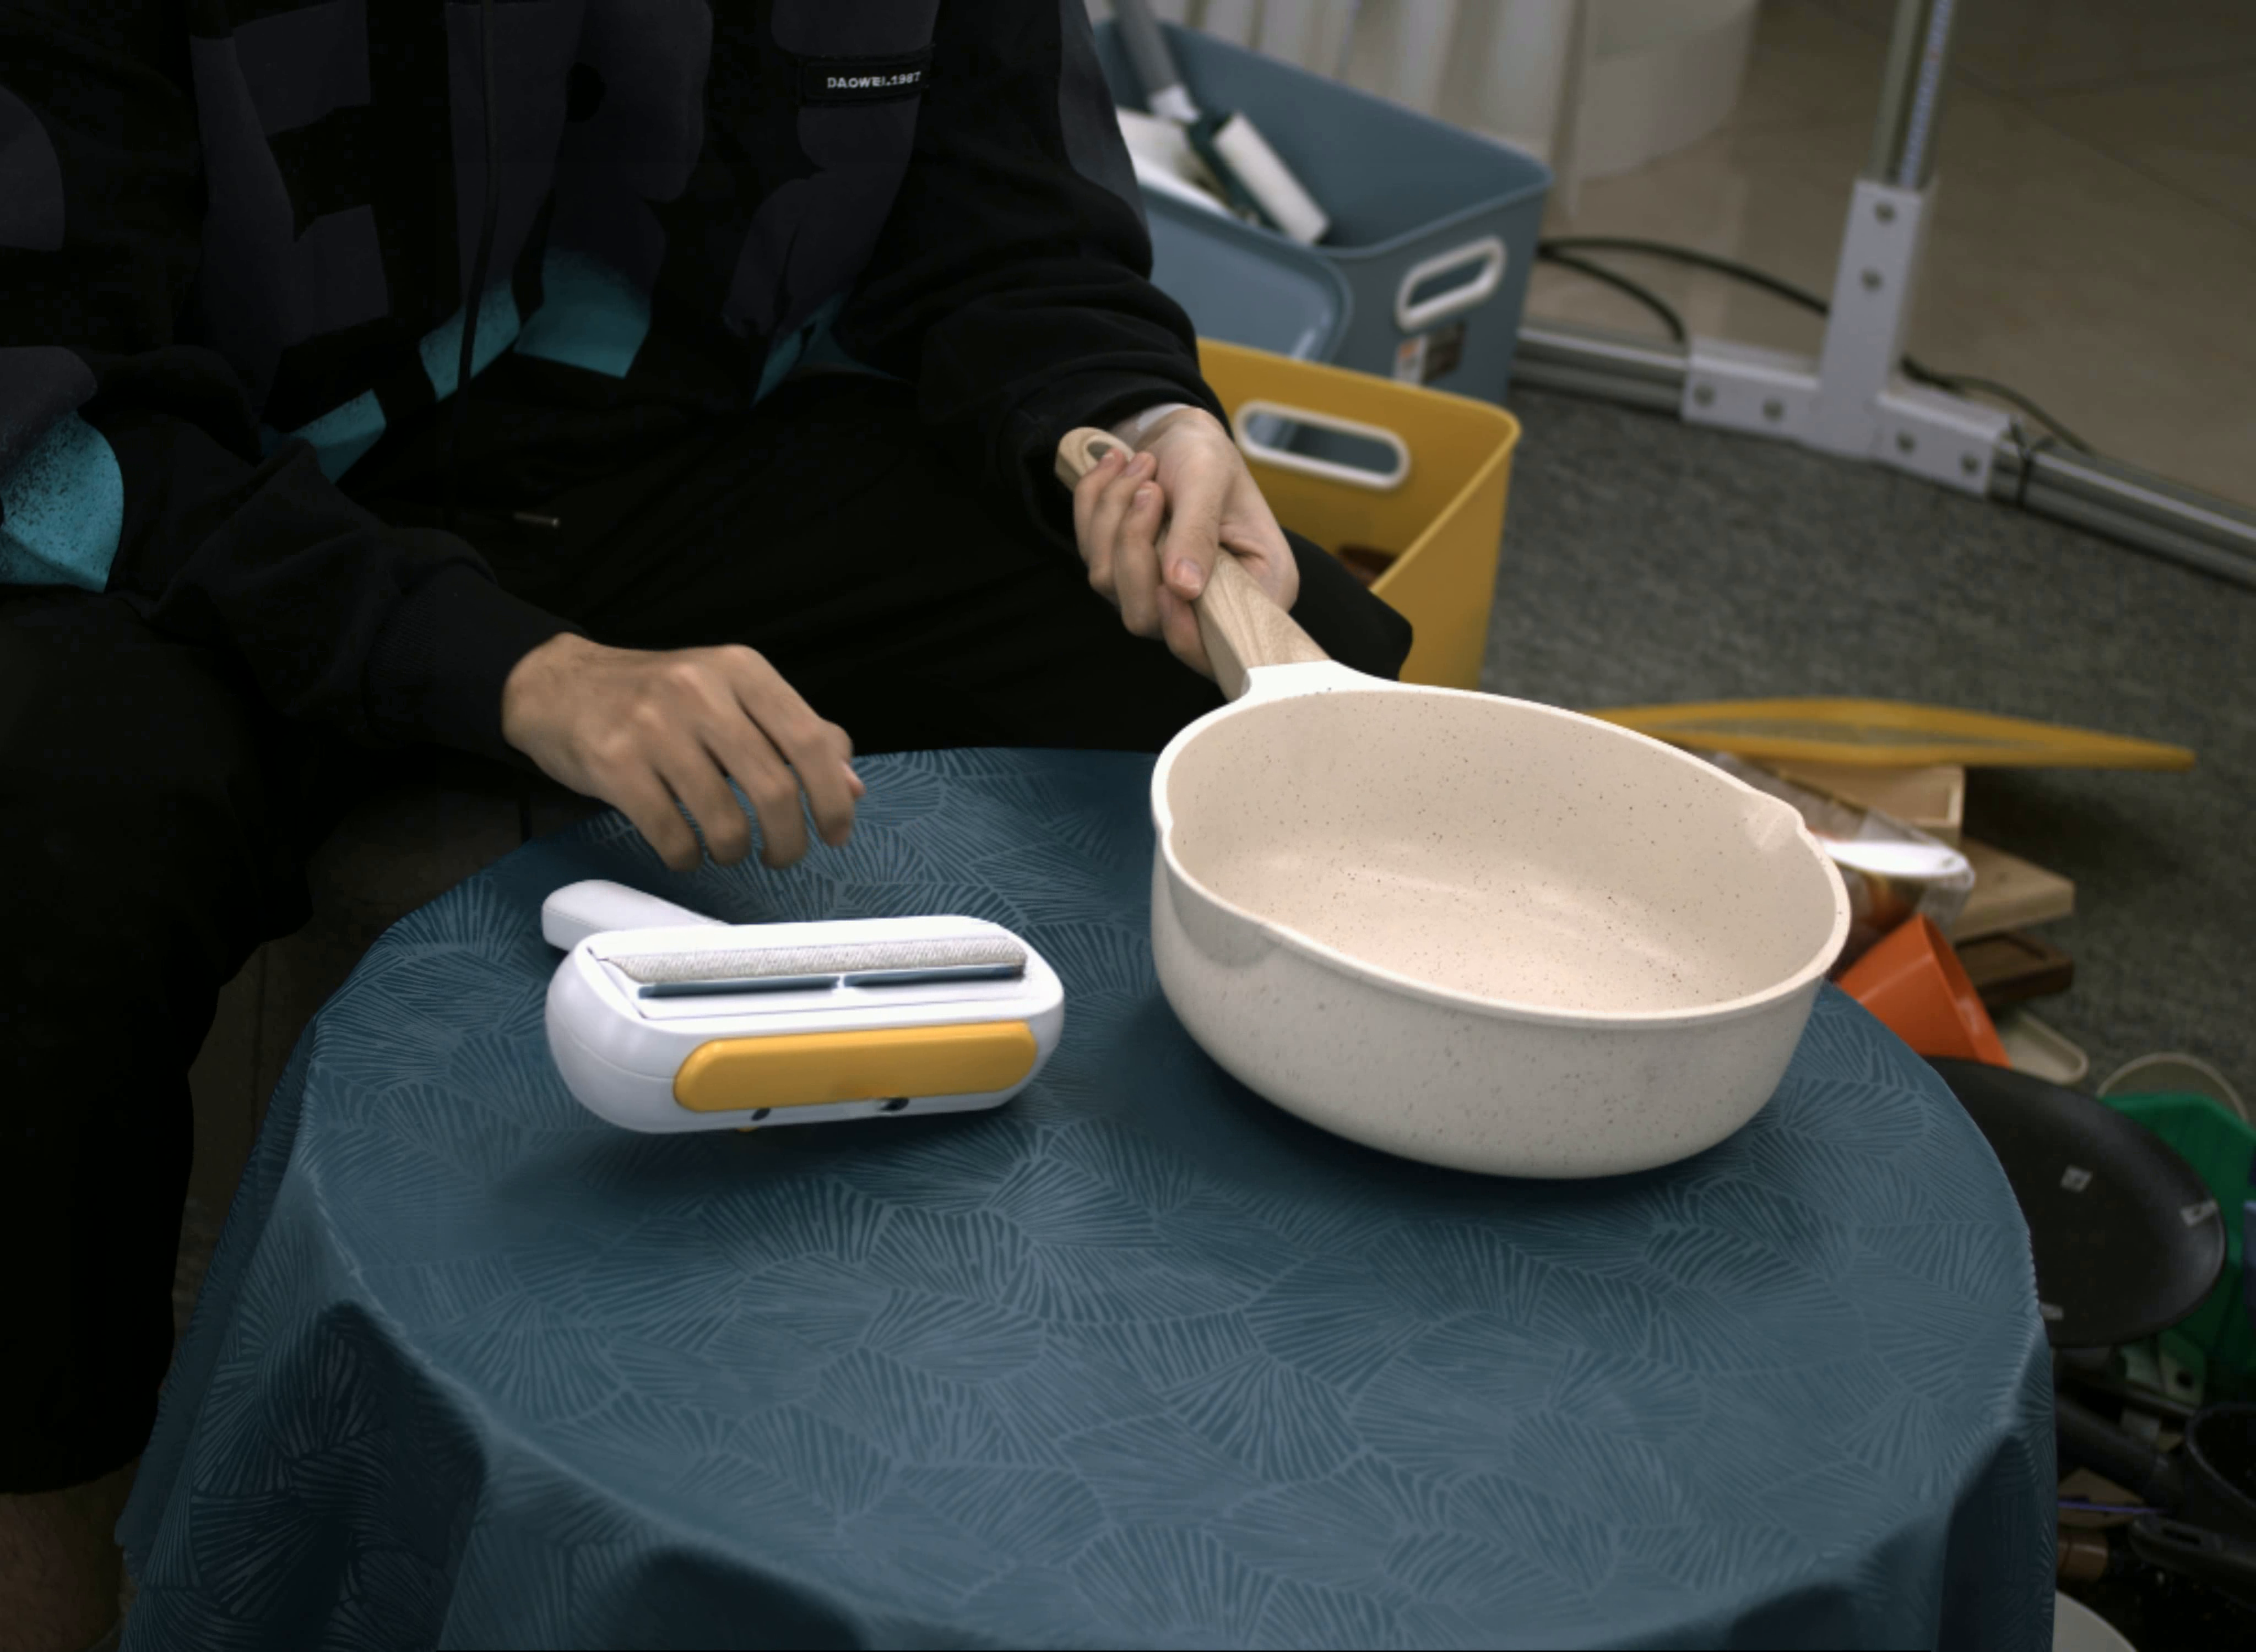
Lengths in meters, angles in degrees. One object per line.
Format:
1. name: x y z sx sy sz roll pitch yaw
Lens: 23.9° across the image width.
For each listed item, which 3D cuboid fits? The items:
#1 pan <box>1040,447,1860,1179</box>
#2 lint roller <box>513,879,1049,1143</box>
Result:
1. pan: 0.082 -0.007 1.954 0.261 0.101 0.439 -9 31 -30
2. lint roller: -0.146 0.049 1.839 0.191 0.074 0.194 -5 26 -32
